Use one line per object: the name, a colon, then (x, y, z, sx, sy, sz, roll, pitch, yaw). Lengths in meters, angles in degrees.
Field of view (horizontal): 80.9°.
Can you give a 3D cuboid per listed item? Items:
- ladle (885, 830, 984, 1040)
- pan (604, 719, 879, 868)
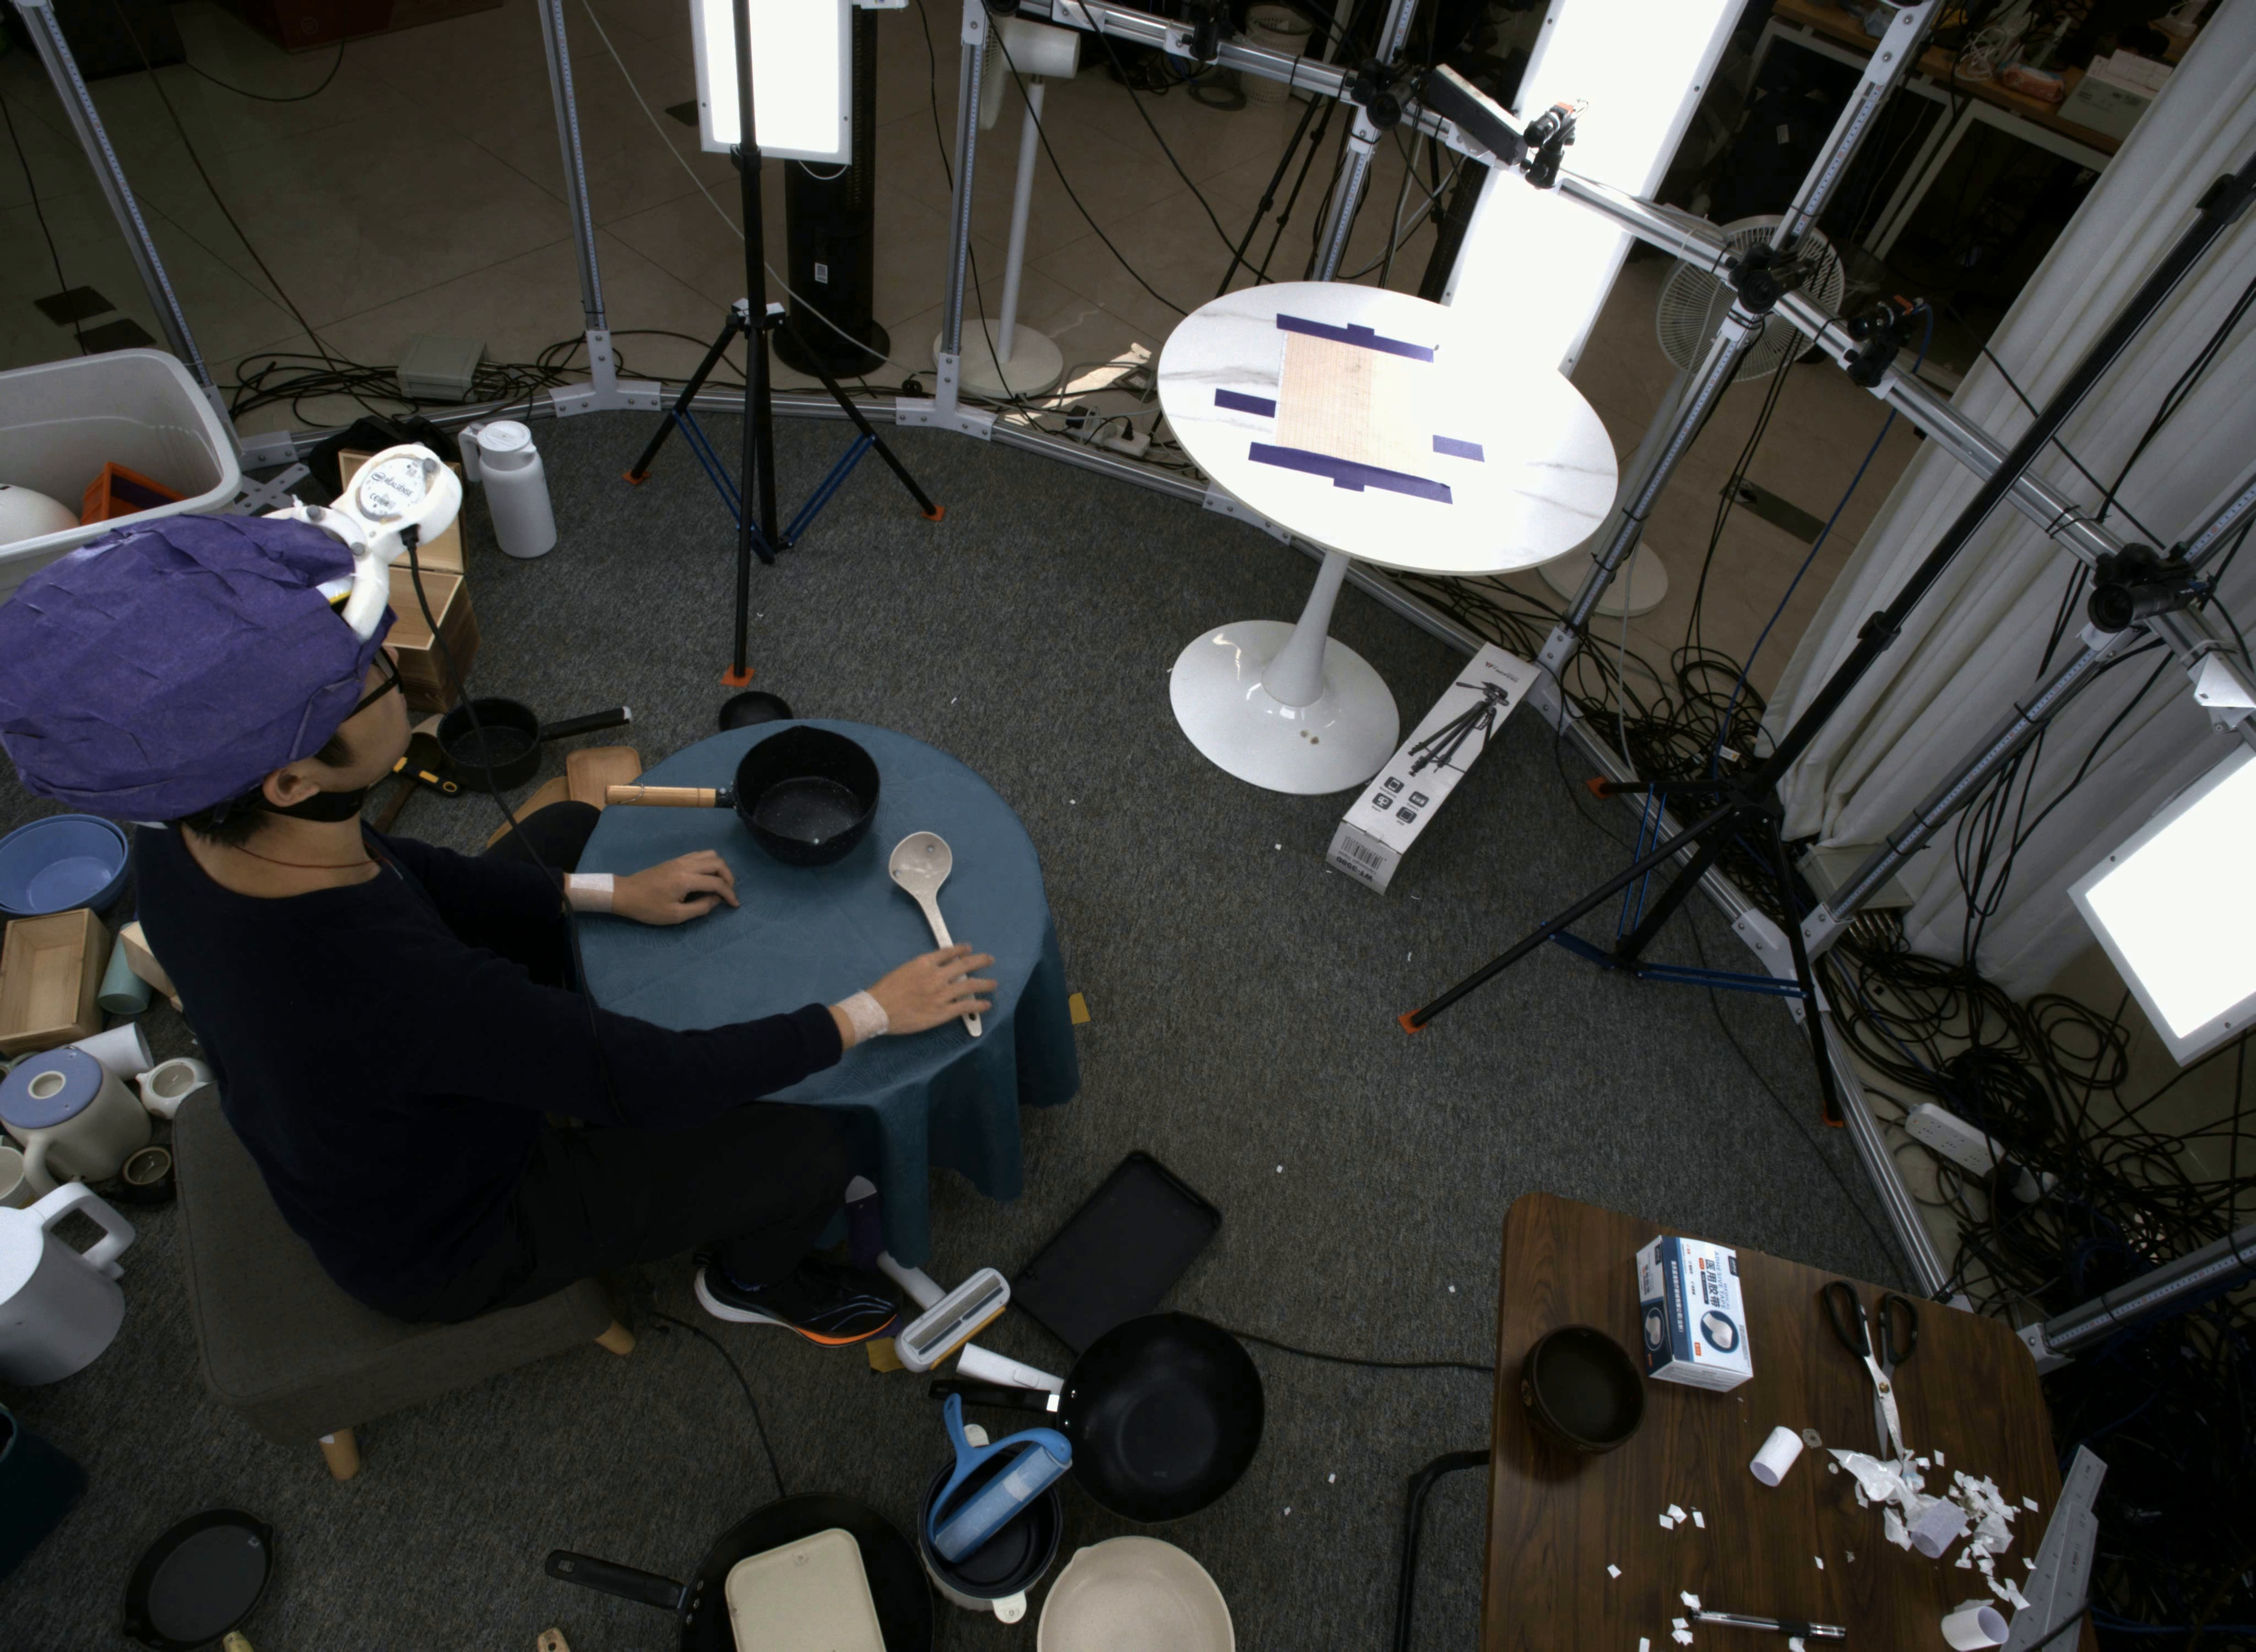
ladle: (-0.228, 0.130, 1.622, 0.090, 0.070, 0.268, -11, 59, -27)
pan: (-0.491, -0.030, 1.649, 0.345, 0.110, 0.202, -7, 57, -21)
